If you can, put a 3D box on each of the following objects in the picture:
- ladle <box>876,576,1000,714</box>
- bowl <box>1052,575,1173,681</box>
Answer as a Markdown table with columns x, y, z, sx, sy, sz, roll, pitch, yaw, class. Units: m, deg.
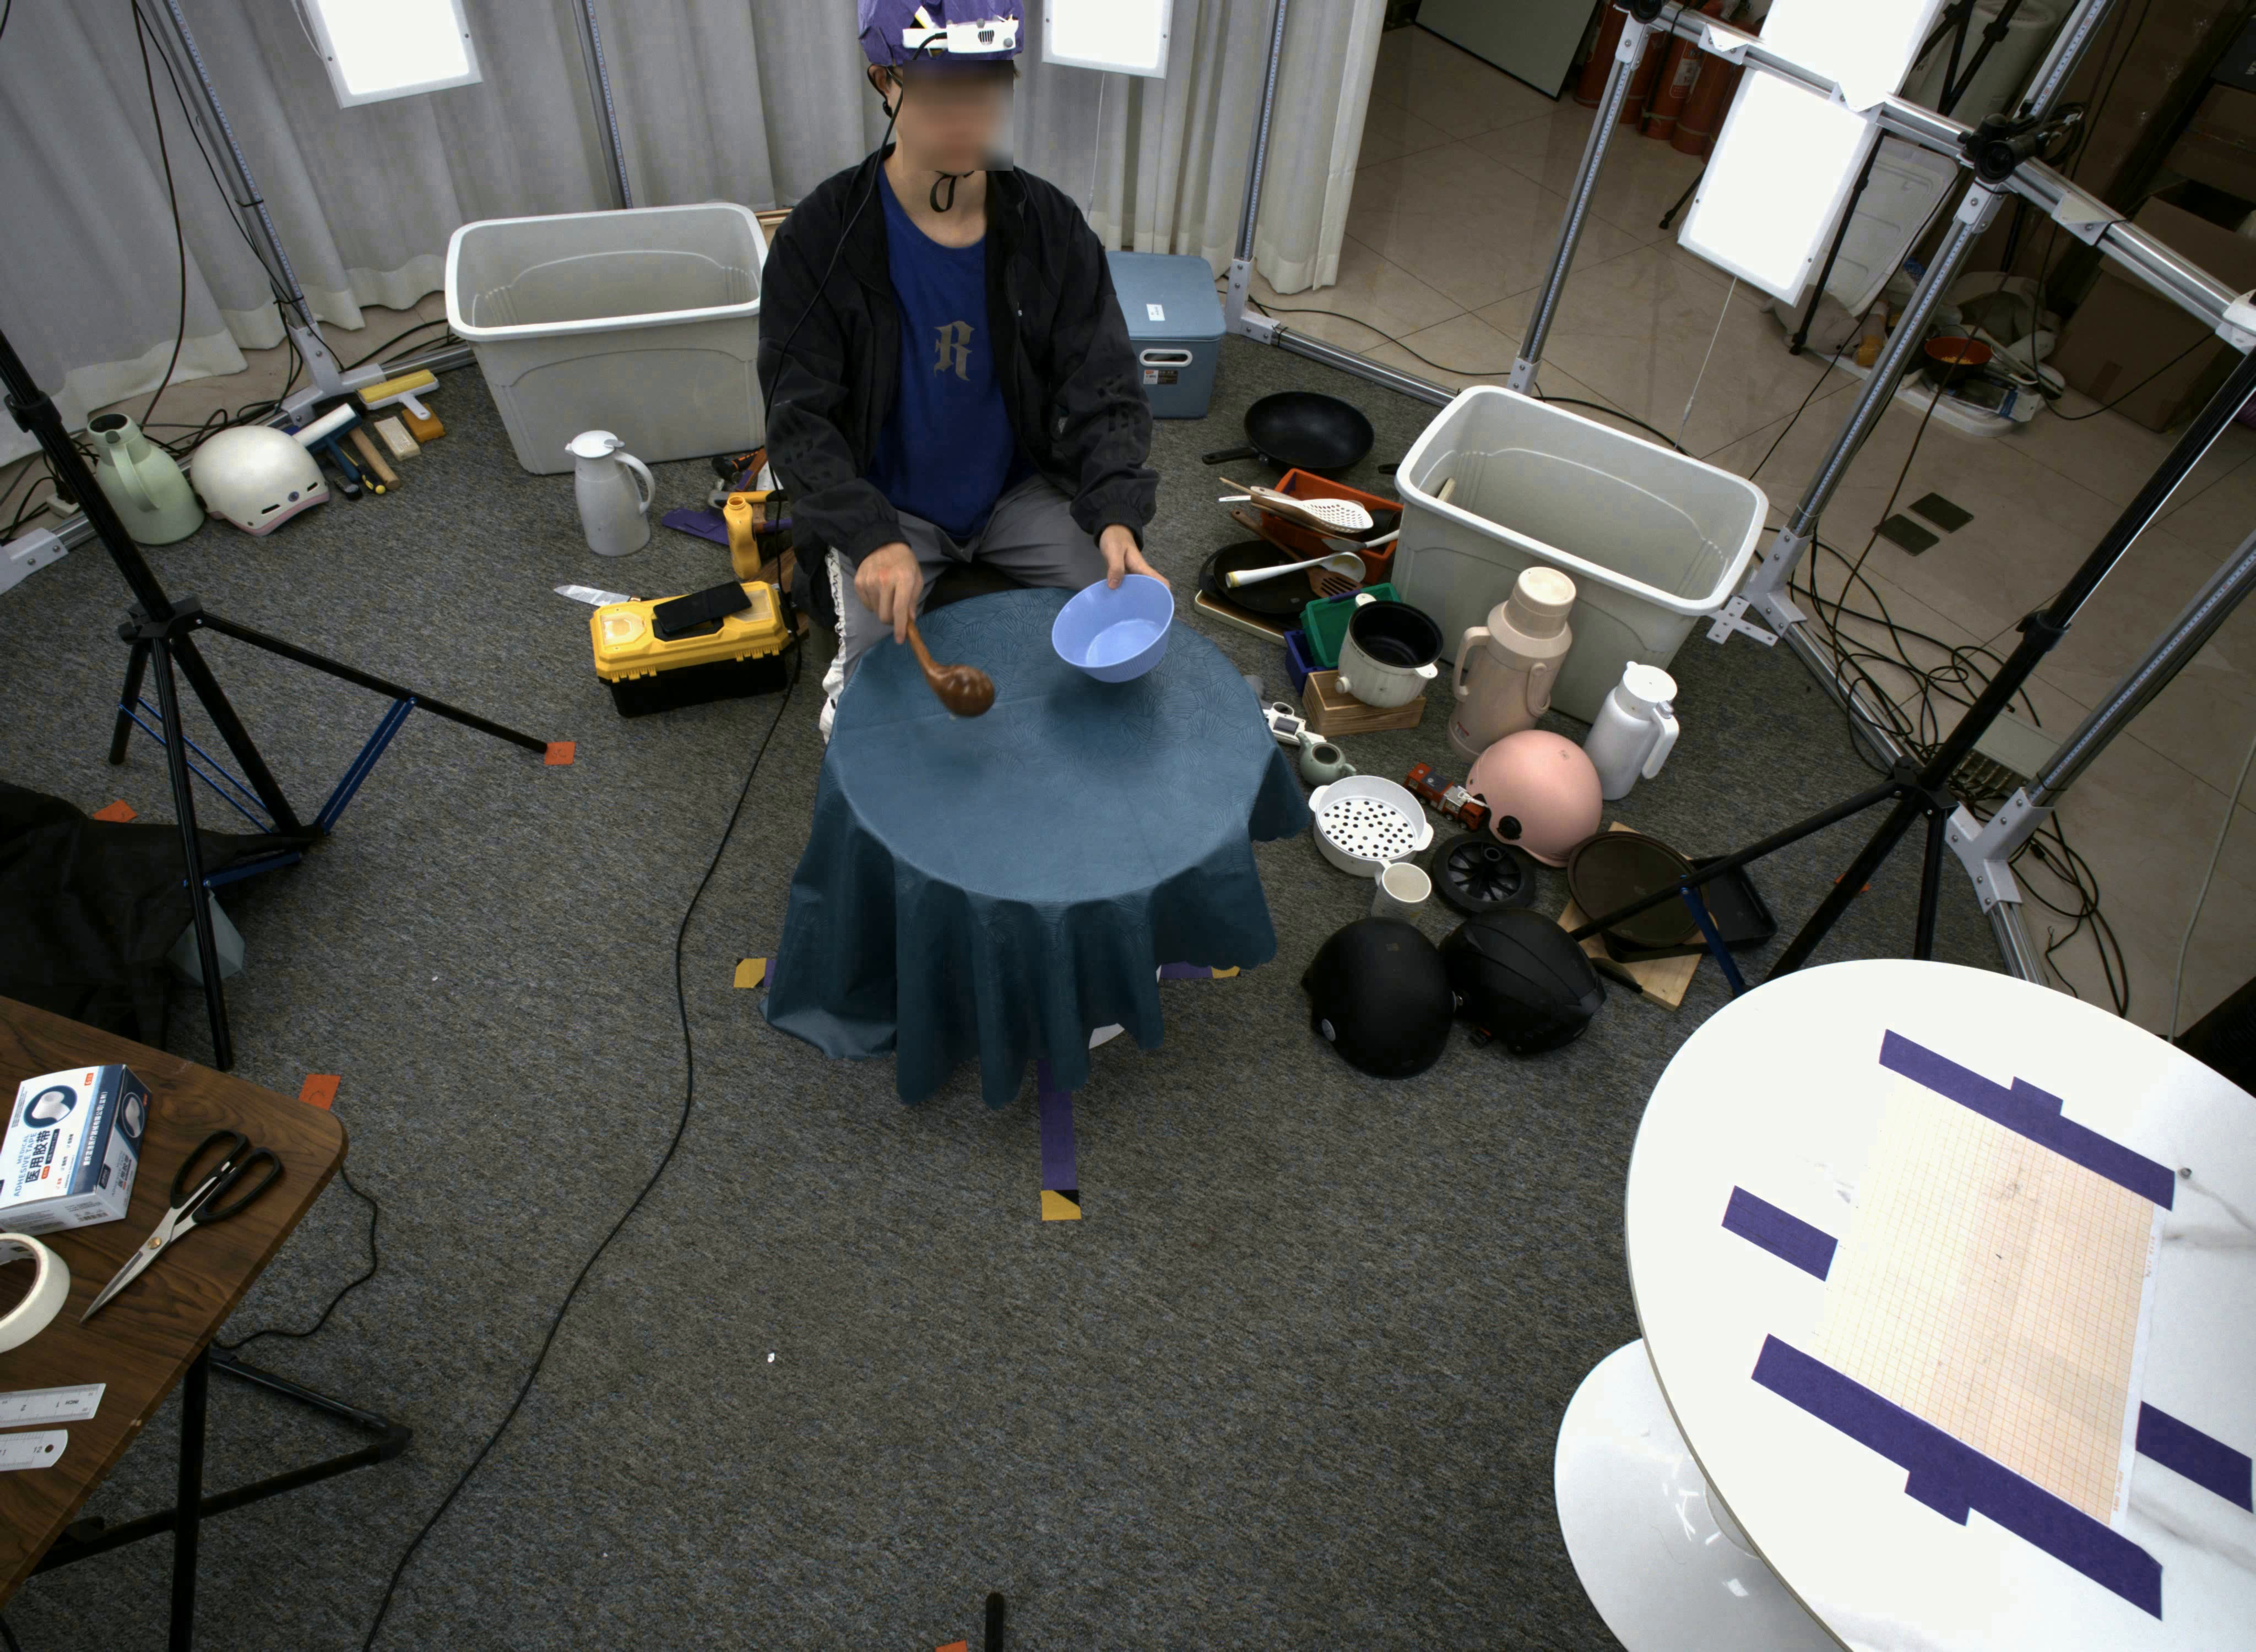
| x | y | z | sx | sy | sz | roll | pitch | yaw | class |
| --- | --- | --- | --- | --- | --- | --- | --- | --- | --- |
| -0.258 | -0.257 | 1.756 | 0.076 | 0.080 | 0.280 | -7 | 47 | -32 | ladle |
| -0.012 | -0.265 | 1.781 | 0.176 | 0.068 | 0.180 | -13 | 47 | 14 | bowl |
